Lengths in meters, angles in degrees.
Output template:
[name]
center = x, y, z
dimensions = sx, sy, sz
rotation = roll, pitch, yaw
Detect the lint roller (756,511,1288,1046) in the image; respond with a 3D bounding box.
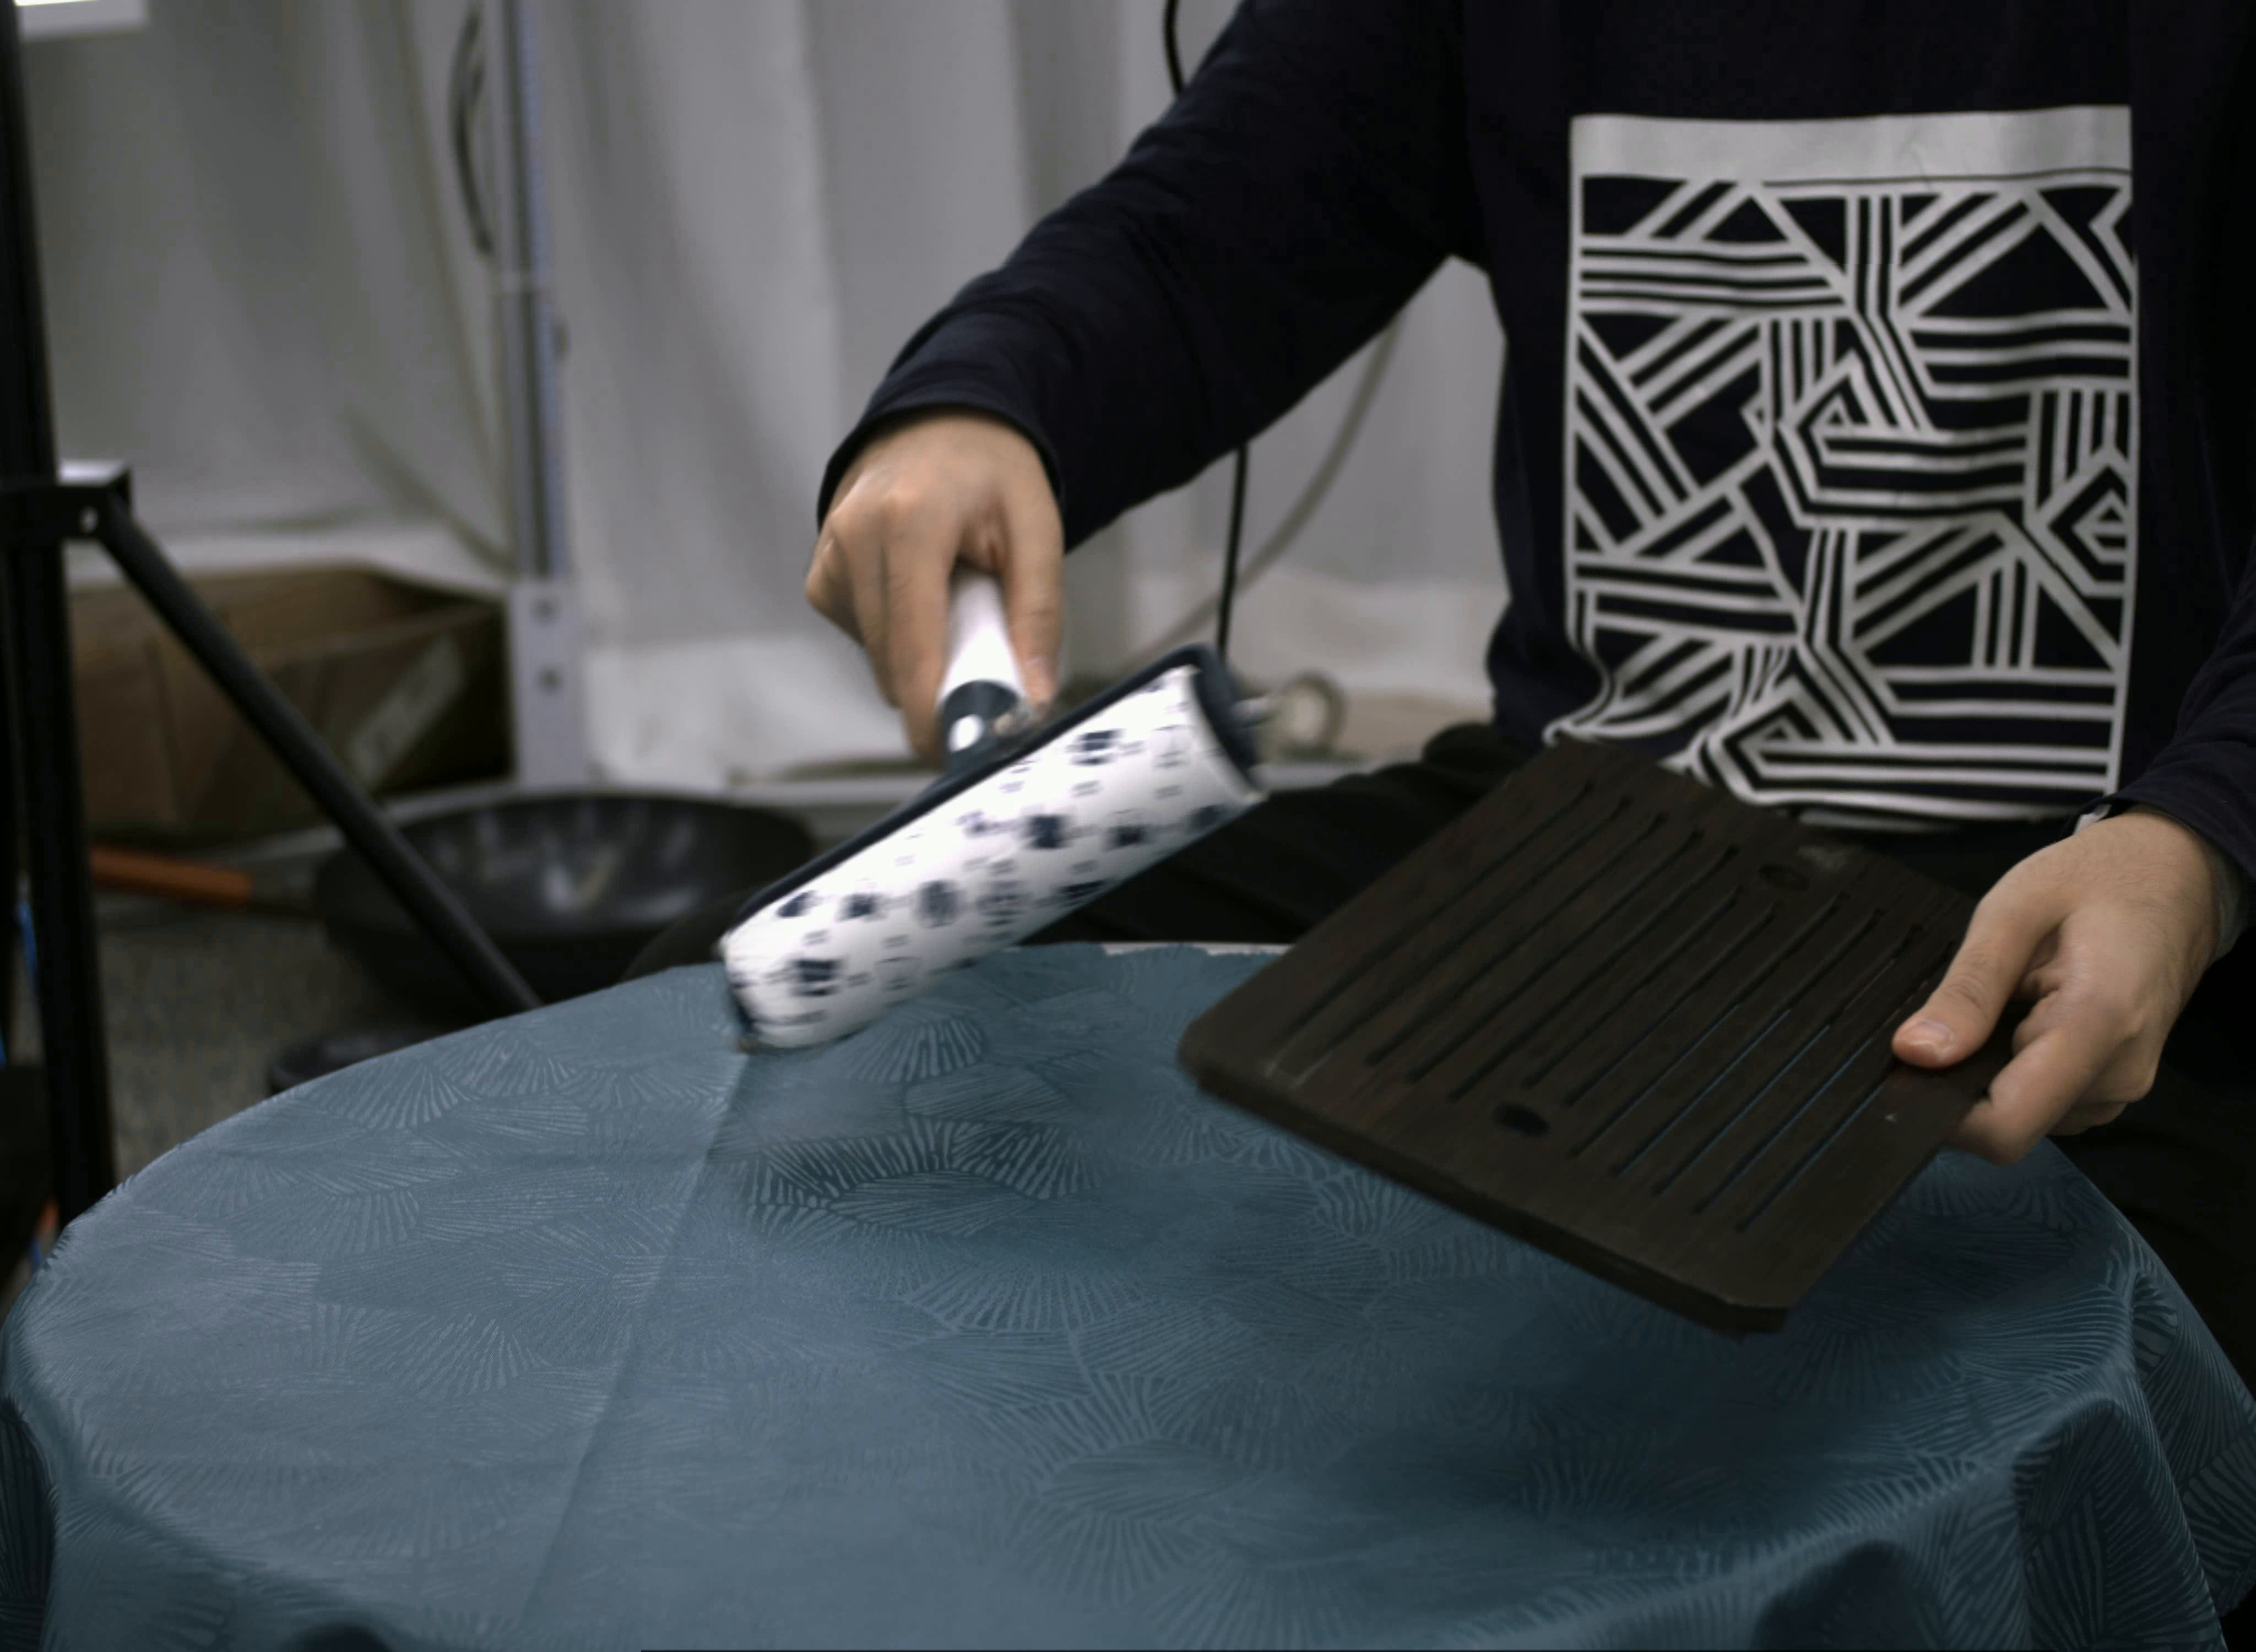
[lint roller]
center = -0.043, -0.042, 1.667
dimensions = 0.177, 0.049, 0.250
rotation = -32, 28, 11

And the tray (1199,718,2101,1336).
[tray]
center = 0.147, 0.049, 1.420
dimensions = 0.172, 0.018, 0.301
rotation = 26, 25, 17
